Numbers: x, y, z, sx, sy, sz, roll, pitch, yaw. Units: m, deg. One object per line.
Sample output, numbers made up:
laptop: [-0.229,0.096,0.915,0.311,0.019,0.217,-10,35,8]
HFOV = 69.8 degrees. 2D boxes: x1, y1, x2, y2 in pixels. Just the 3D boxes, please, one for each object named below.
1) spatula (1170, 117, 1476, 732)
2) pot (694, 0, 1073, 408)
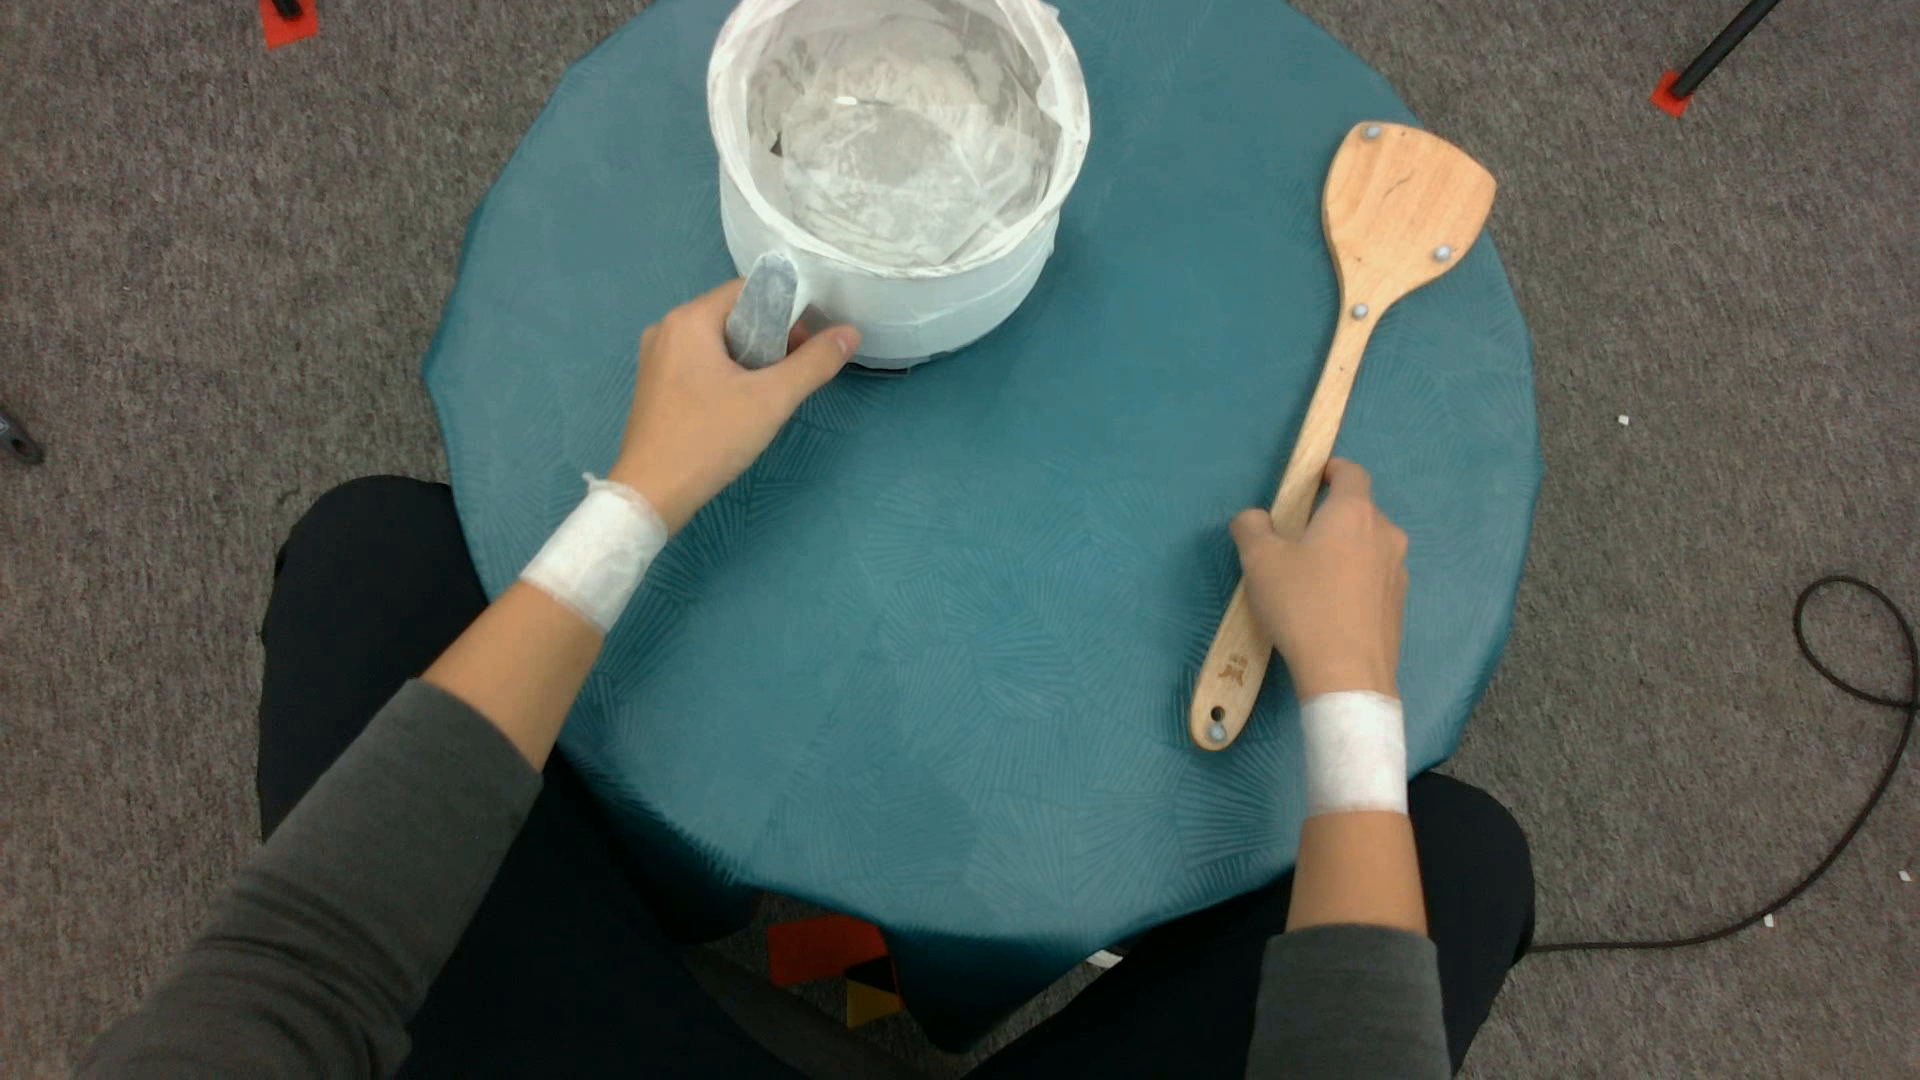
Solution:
spatula: [0.191,-0.072,0.747,0.096,0.018,0.392,24,68,0]
pot: [-0.055,-0.175,0.691,0.179,0.136,0.234,31,74,2]
